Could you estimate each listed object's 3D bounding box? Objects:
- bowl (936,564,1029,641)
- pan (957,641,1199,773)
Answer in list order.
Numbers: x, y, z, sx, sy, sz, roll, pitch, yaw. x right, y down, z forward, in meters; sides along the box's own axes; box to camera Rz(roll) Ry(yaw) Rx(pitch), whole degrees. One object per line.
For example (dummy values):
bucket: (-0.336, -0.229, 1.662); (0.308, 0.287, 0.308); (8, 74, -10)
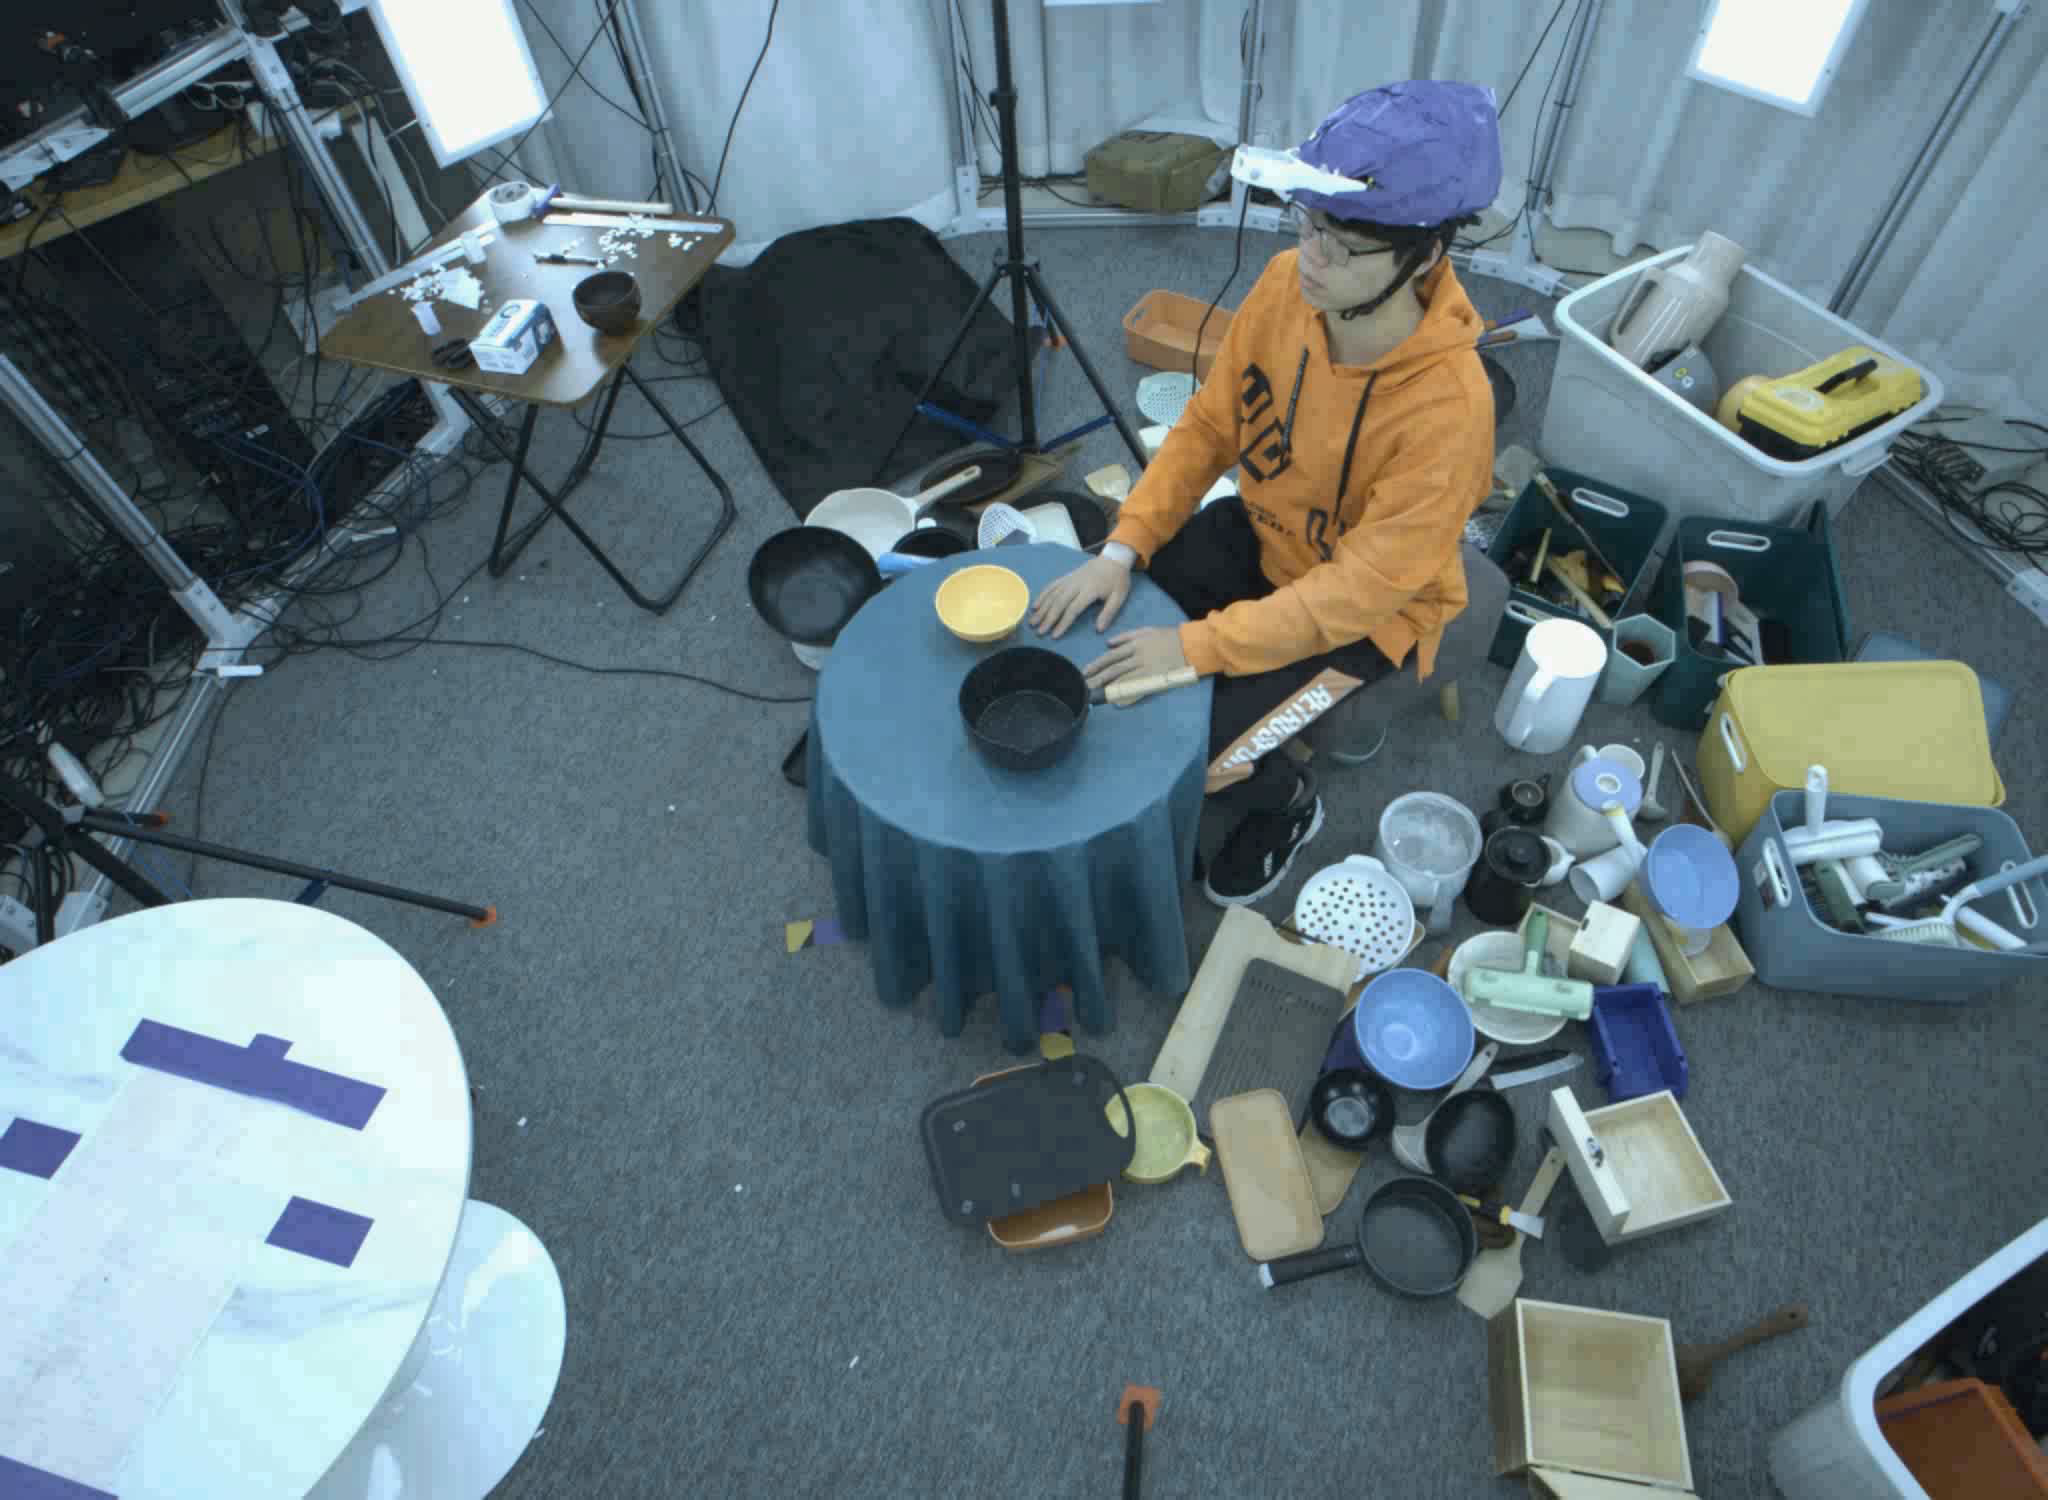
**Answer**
bowl: (-0.063, -0.217, 1.907); (0.145, 0.061, 0.144); (0, 55, 1)
pan: (0.079, -0.068, 1.765); (0.343, 0.109, 0.205); (-6, 53, 0)
